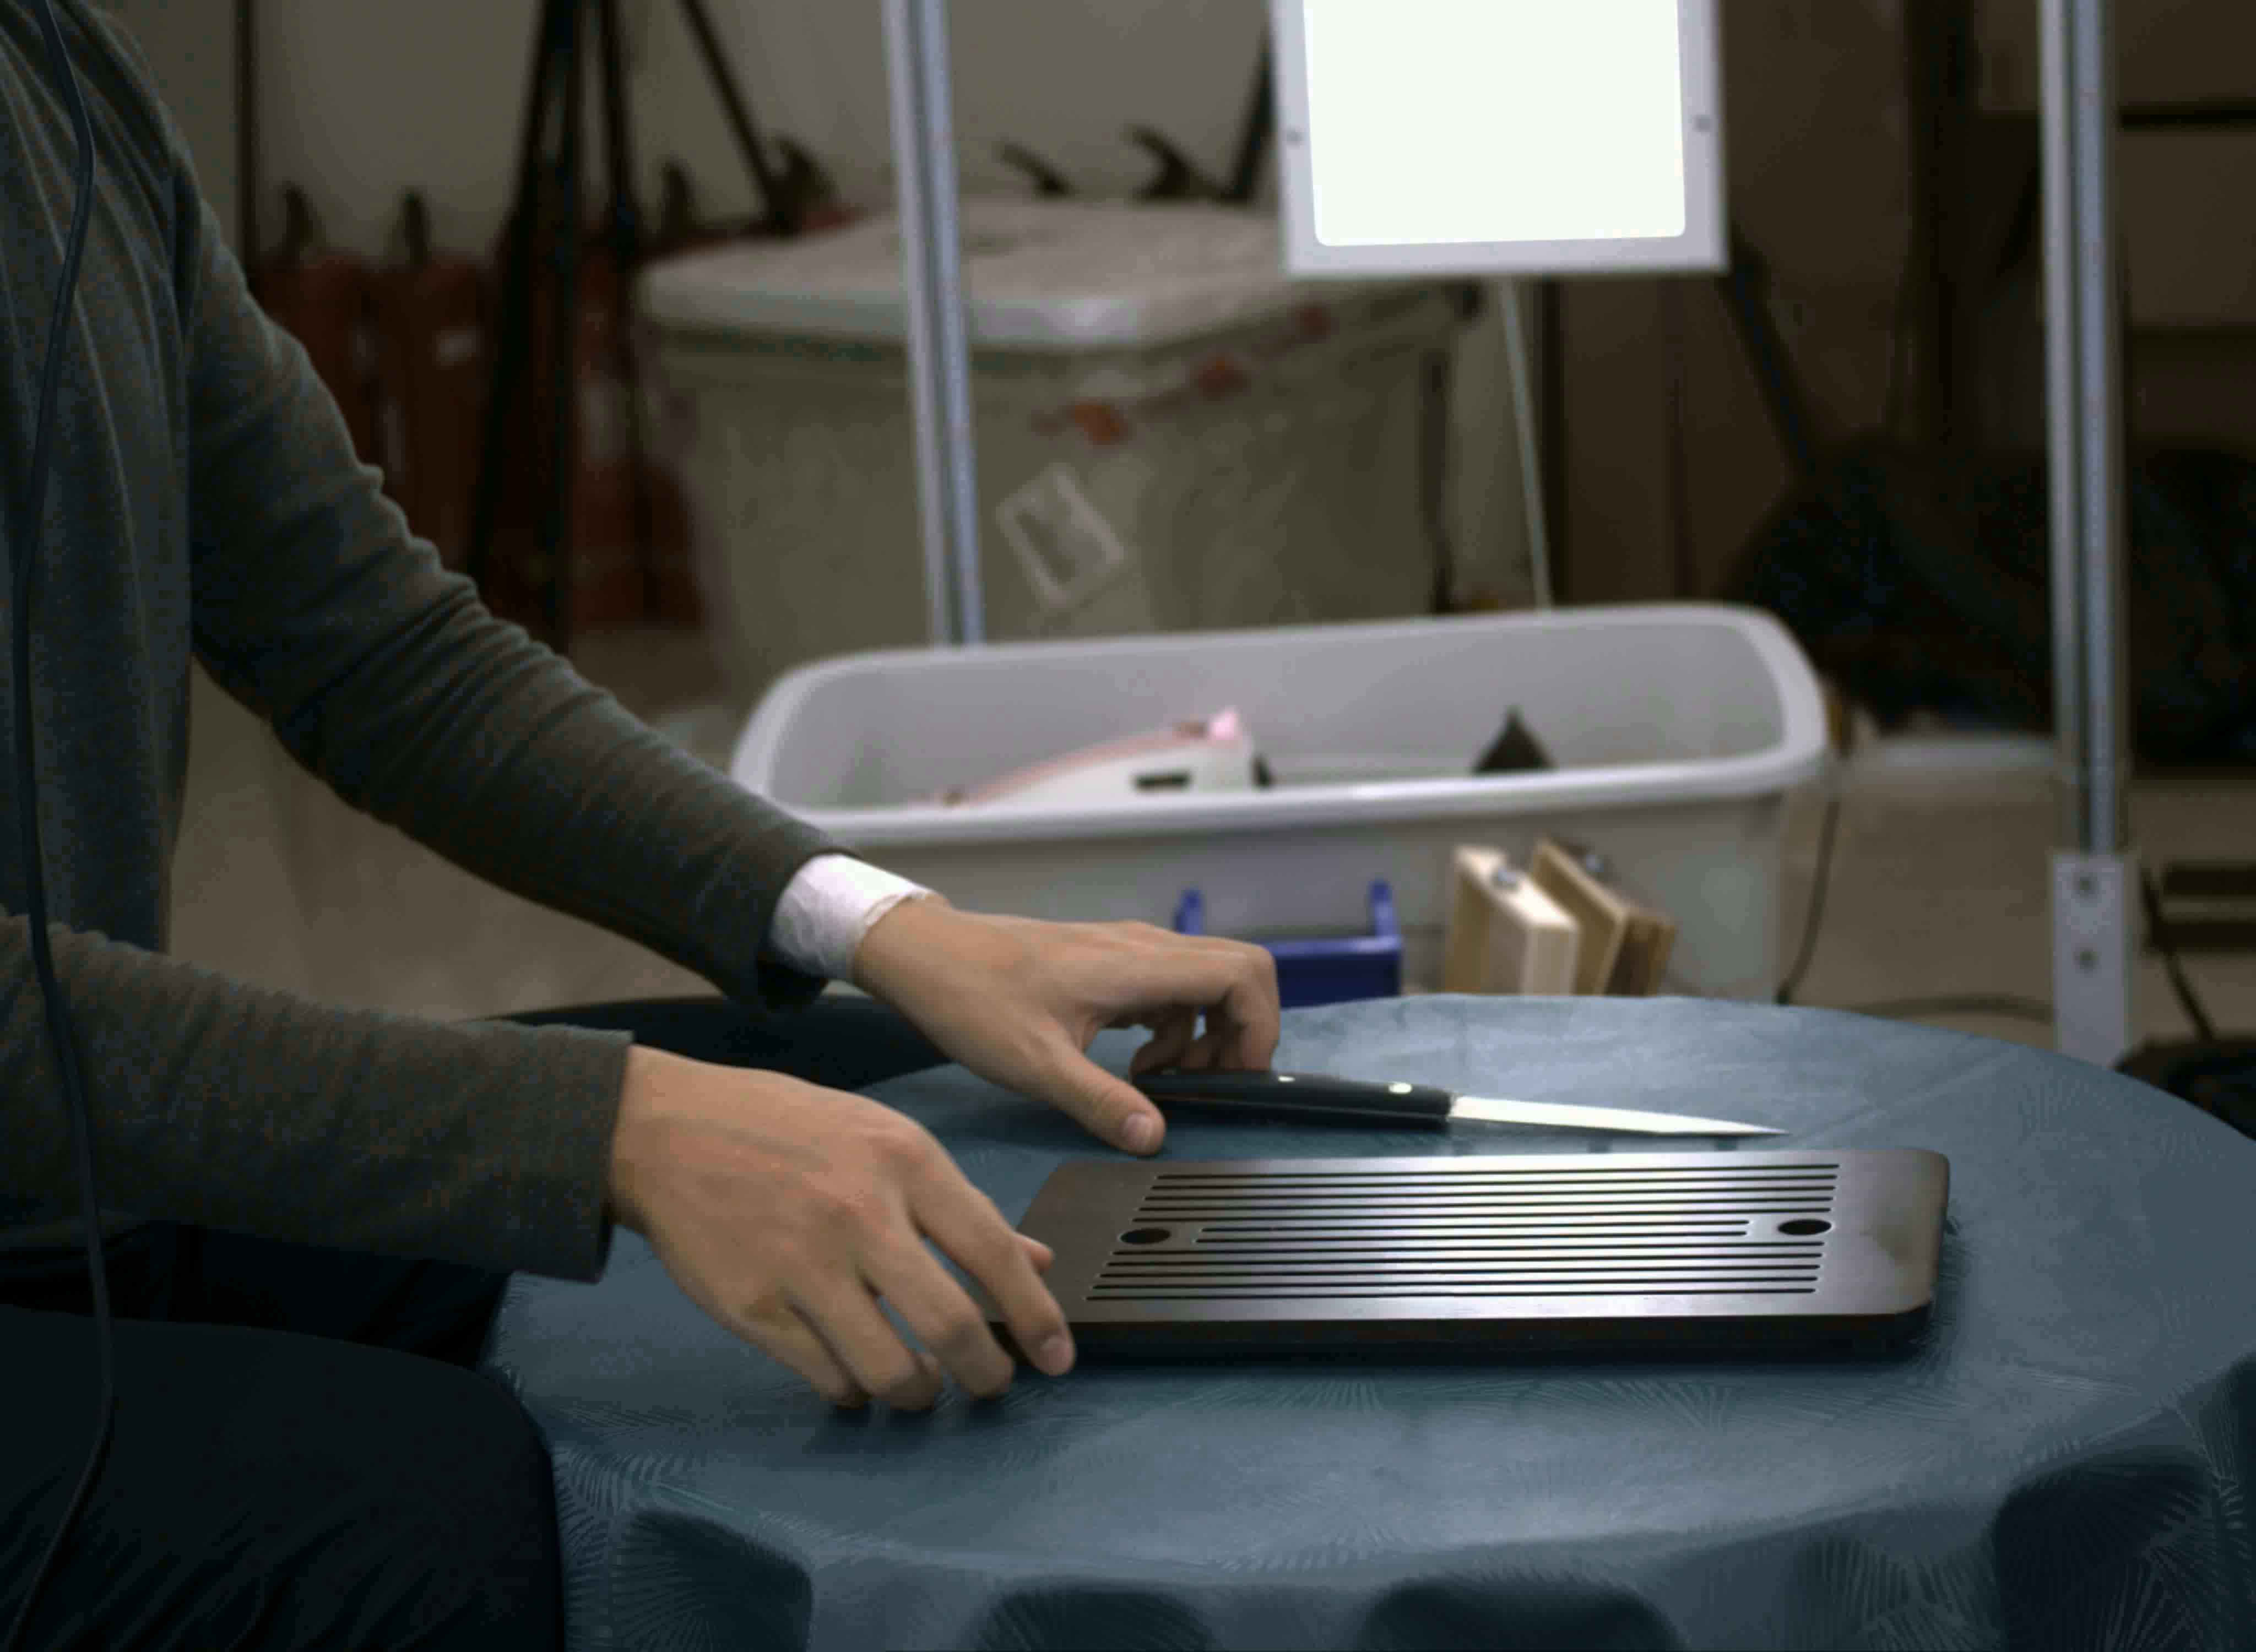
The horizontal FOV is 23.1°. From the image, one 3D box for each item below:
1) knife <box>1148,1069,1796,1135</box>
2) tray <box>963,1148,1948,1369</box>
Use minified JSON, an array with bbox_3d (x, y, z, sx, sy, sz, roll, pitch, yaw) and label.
[{"bbox_3d":[0.119,0.101,1.943,0.241,0.016,0.024,3,15,20],"label":"knife"},{"bbox_3d":[0.110,0.139,1.772,0.308,0.019,0.168,-2,14,13],"label":"tray"}]
